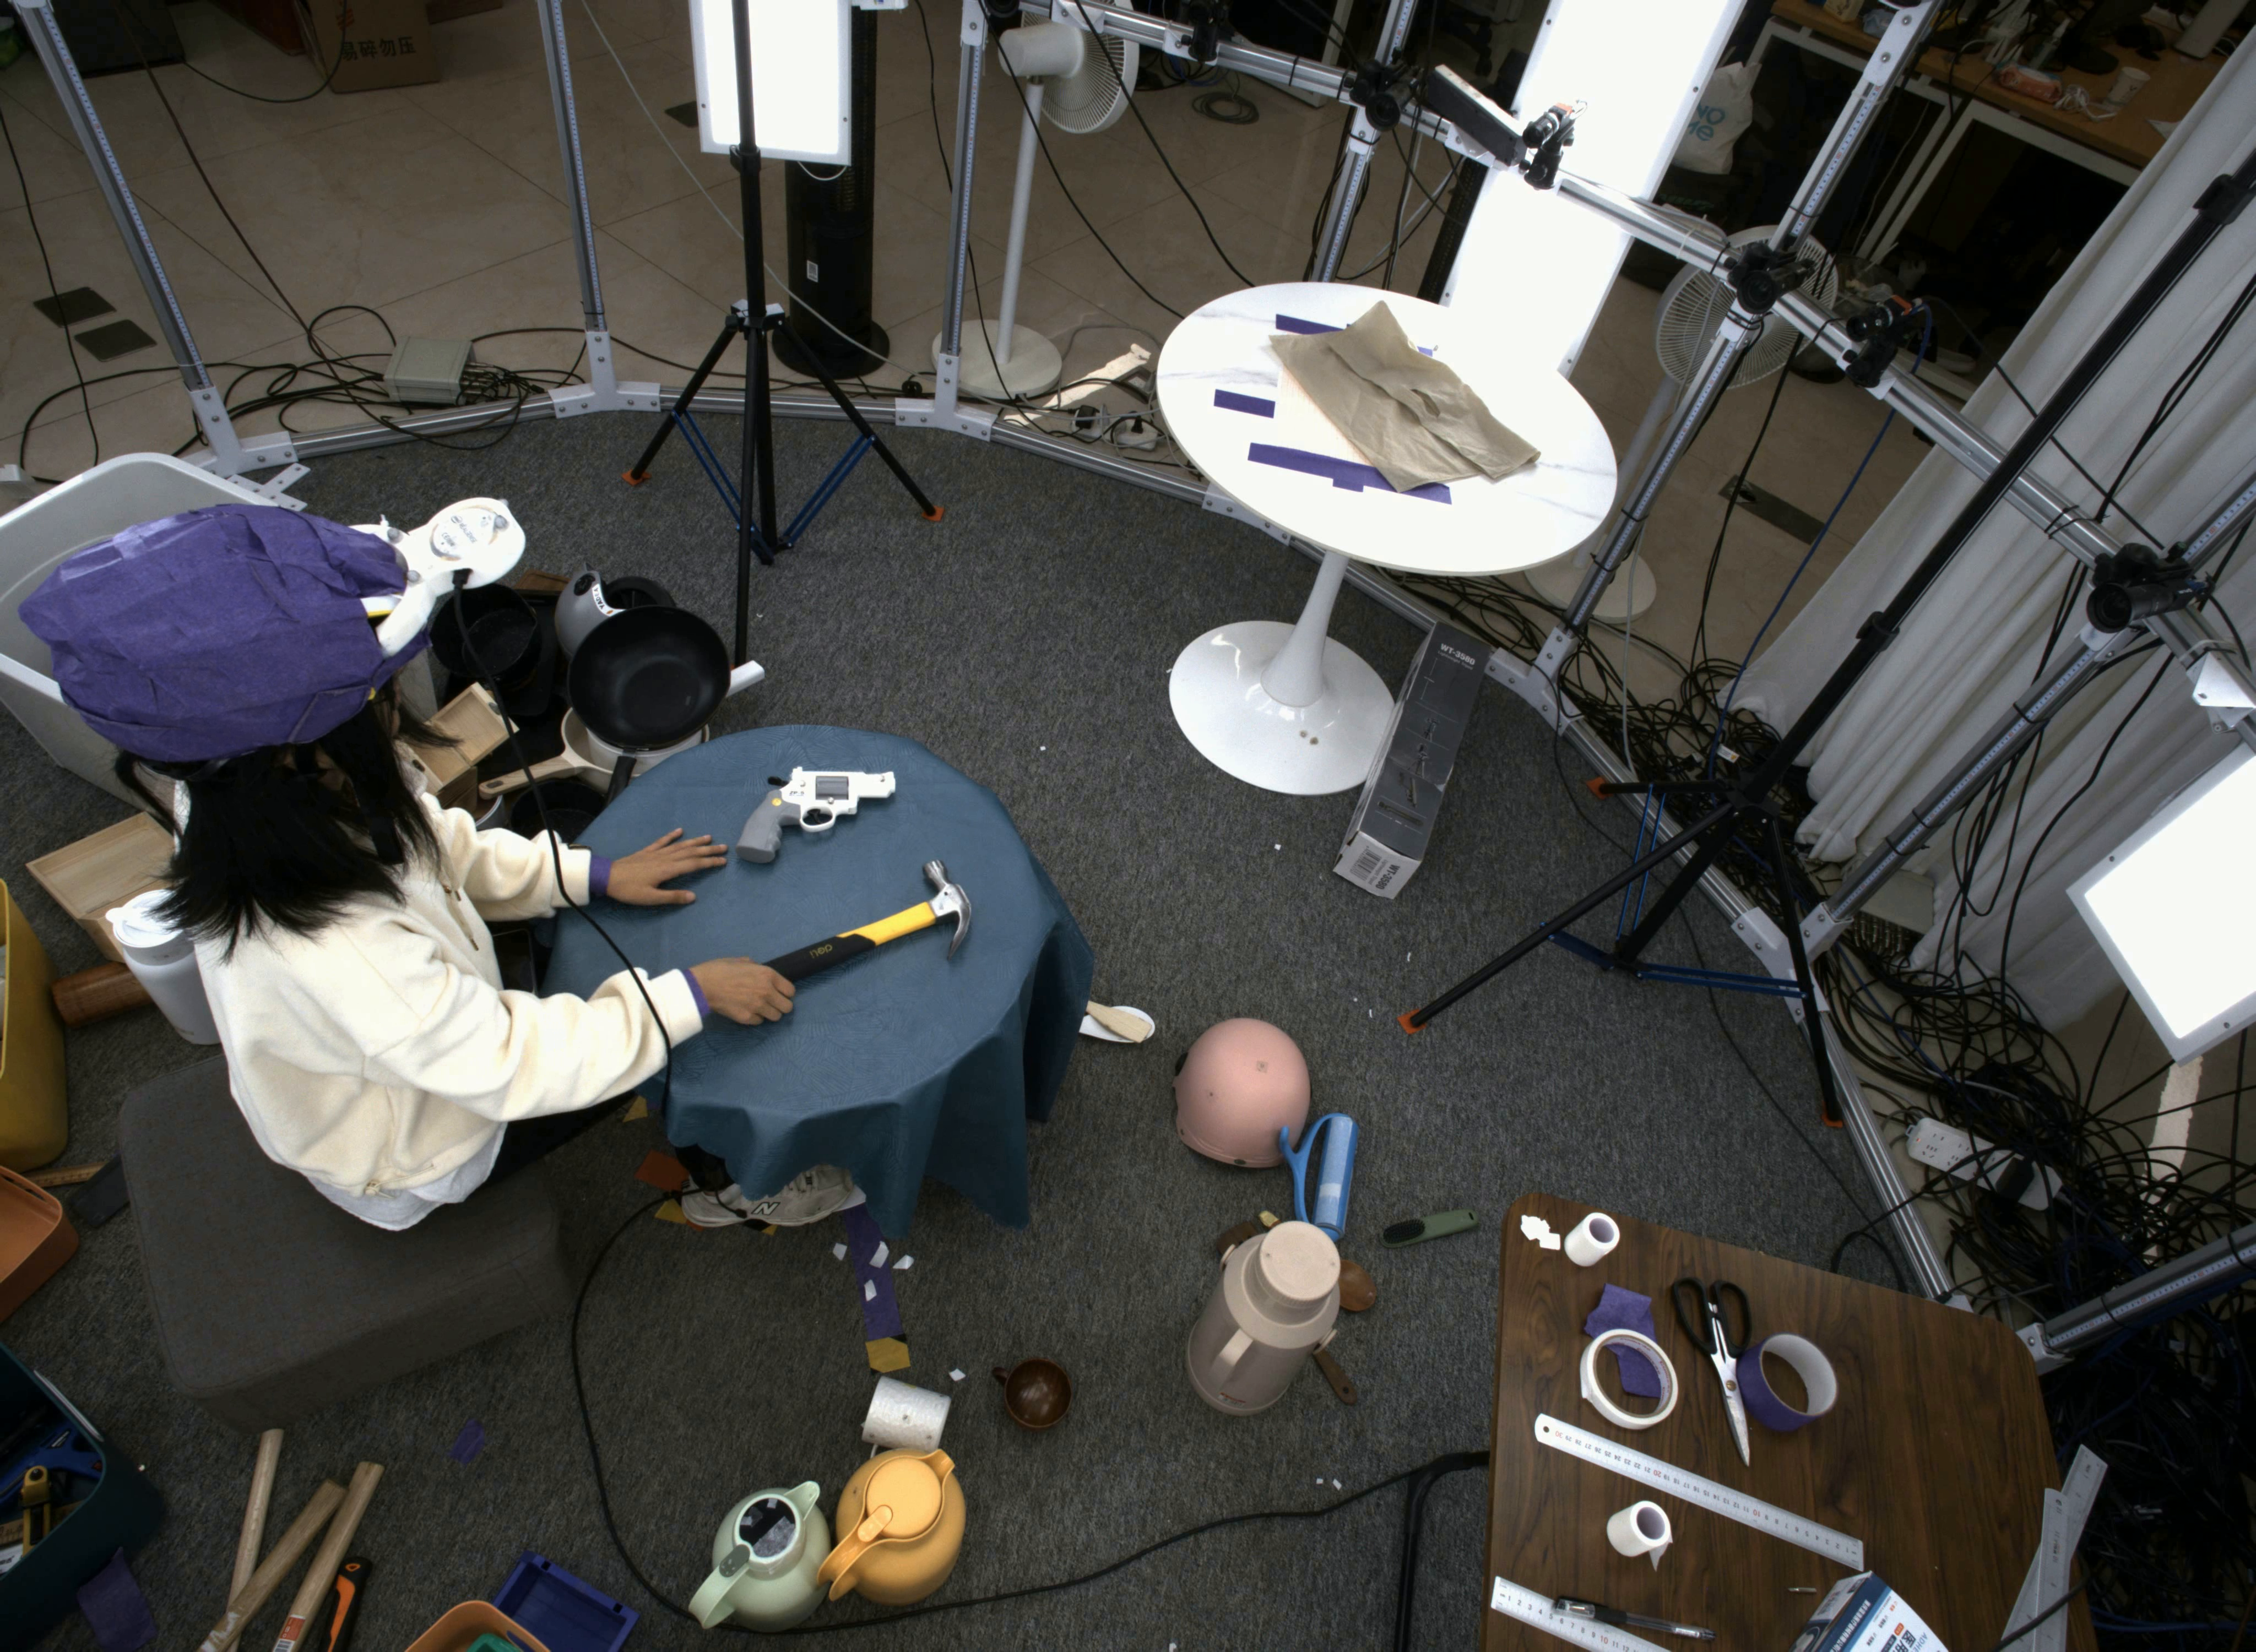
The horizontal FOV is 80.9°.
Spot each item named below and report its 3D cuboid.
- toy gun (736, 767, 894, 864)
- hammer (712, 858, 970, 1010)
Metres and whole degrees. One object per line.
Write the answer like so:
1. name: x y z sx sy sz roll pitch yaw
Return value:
1. toy gun: -0.411 -0.020 1.712 0.210 0.039 0.138 -2 54 -16
2. hammer: -0.349 0.145 1.603 0.340 0.033 0.128 -21 63 -30
